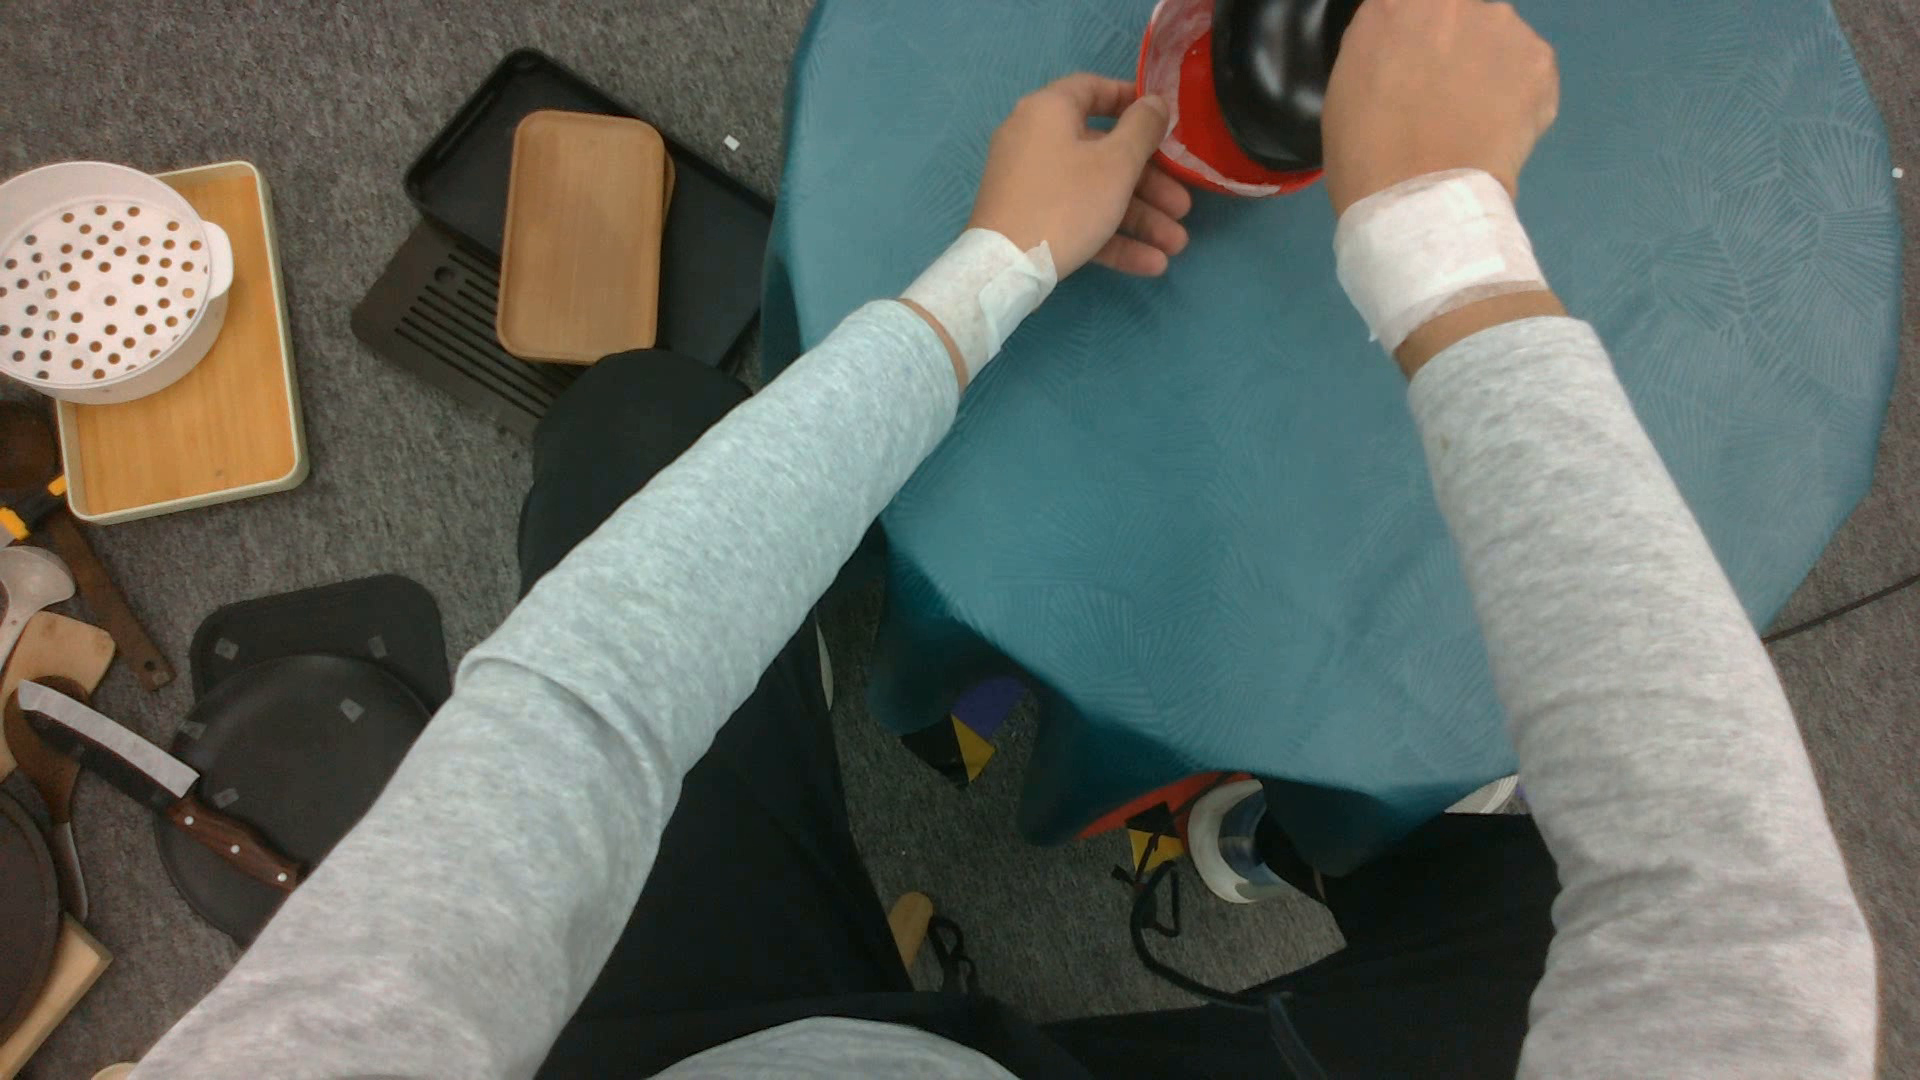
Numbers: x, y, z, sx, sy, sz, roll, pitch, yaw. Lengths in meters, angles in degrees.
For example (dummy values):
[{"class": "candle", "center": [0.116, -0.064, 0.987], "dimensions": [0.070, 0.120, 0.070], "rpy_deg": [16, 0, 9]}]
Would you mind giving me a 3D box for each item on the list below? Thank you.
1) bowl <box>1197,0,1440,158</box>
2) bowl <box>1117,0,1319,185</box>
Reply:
[{"class": "bowl", "center": [0.171, -0.246, 0.632], "dimensions": [0.050, 0.139, 0.140], "rpy_deg": [-7, 82, -29]}, {"class": "bowl", "center": [0.130, -0.228, 0.703], "dimensions": [0.119, 0.051, 0.119], "rpy_deg": [1, 80, -6]}]
